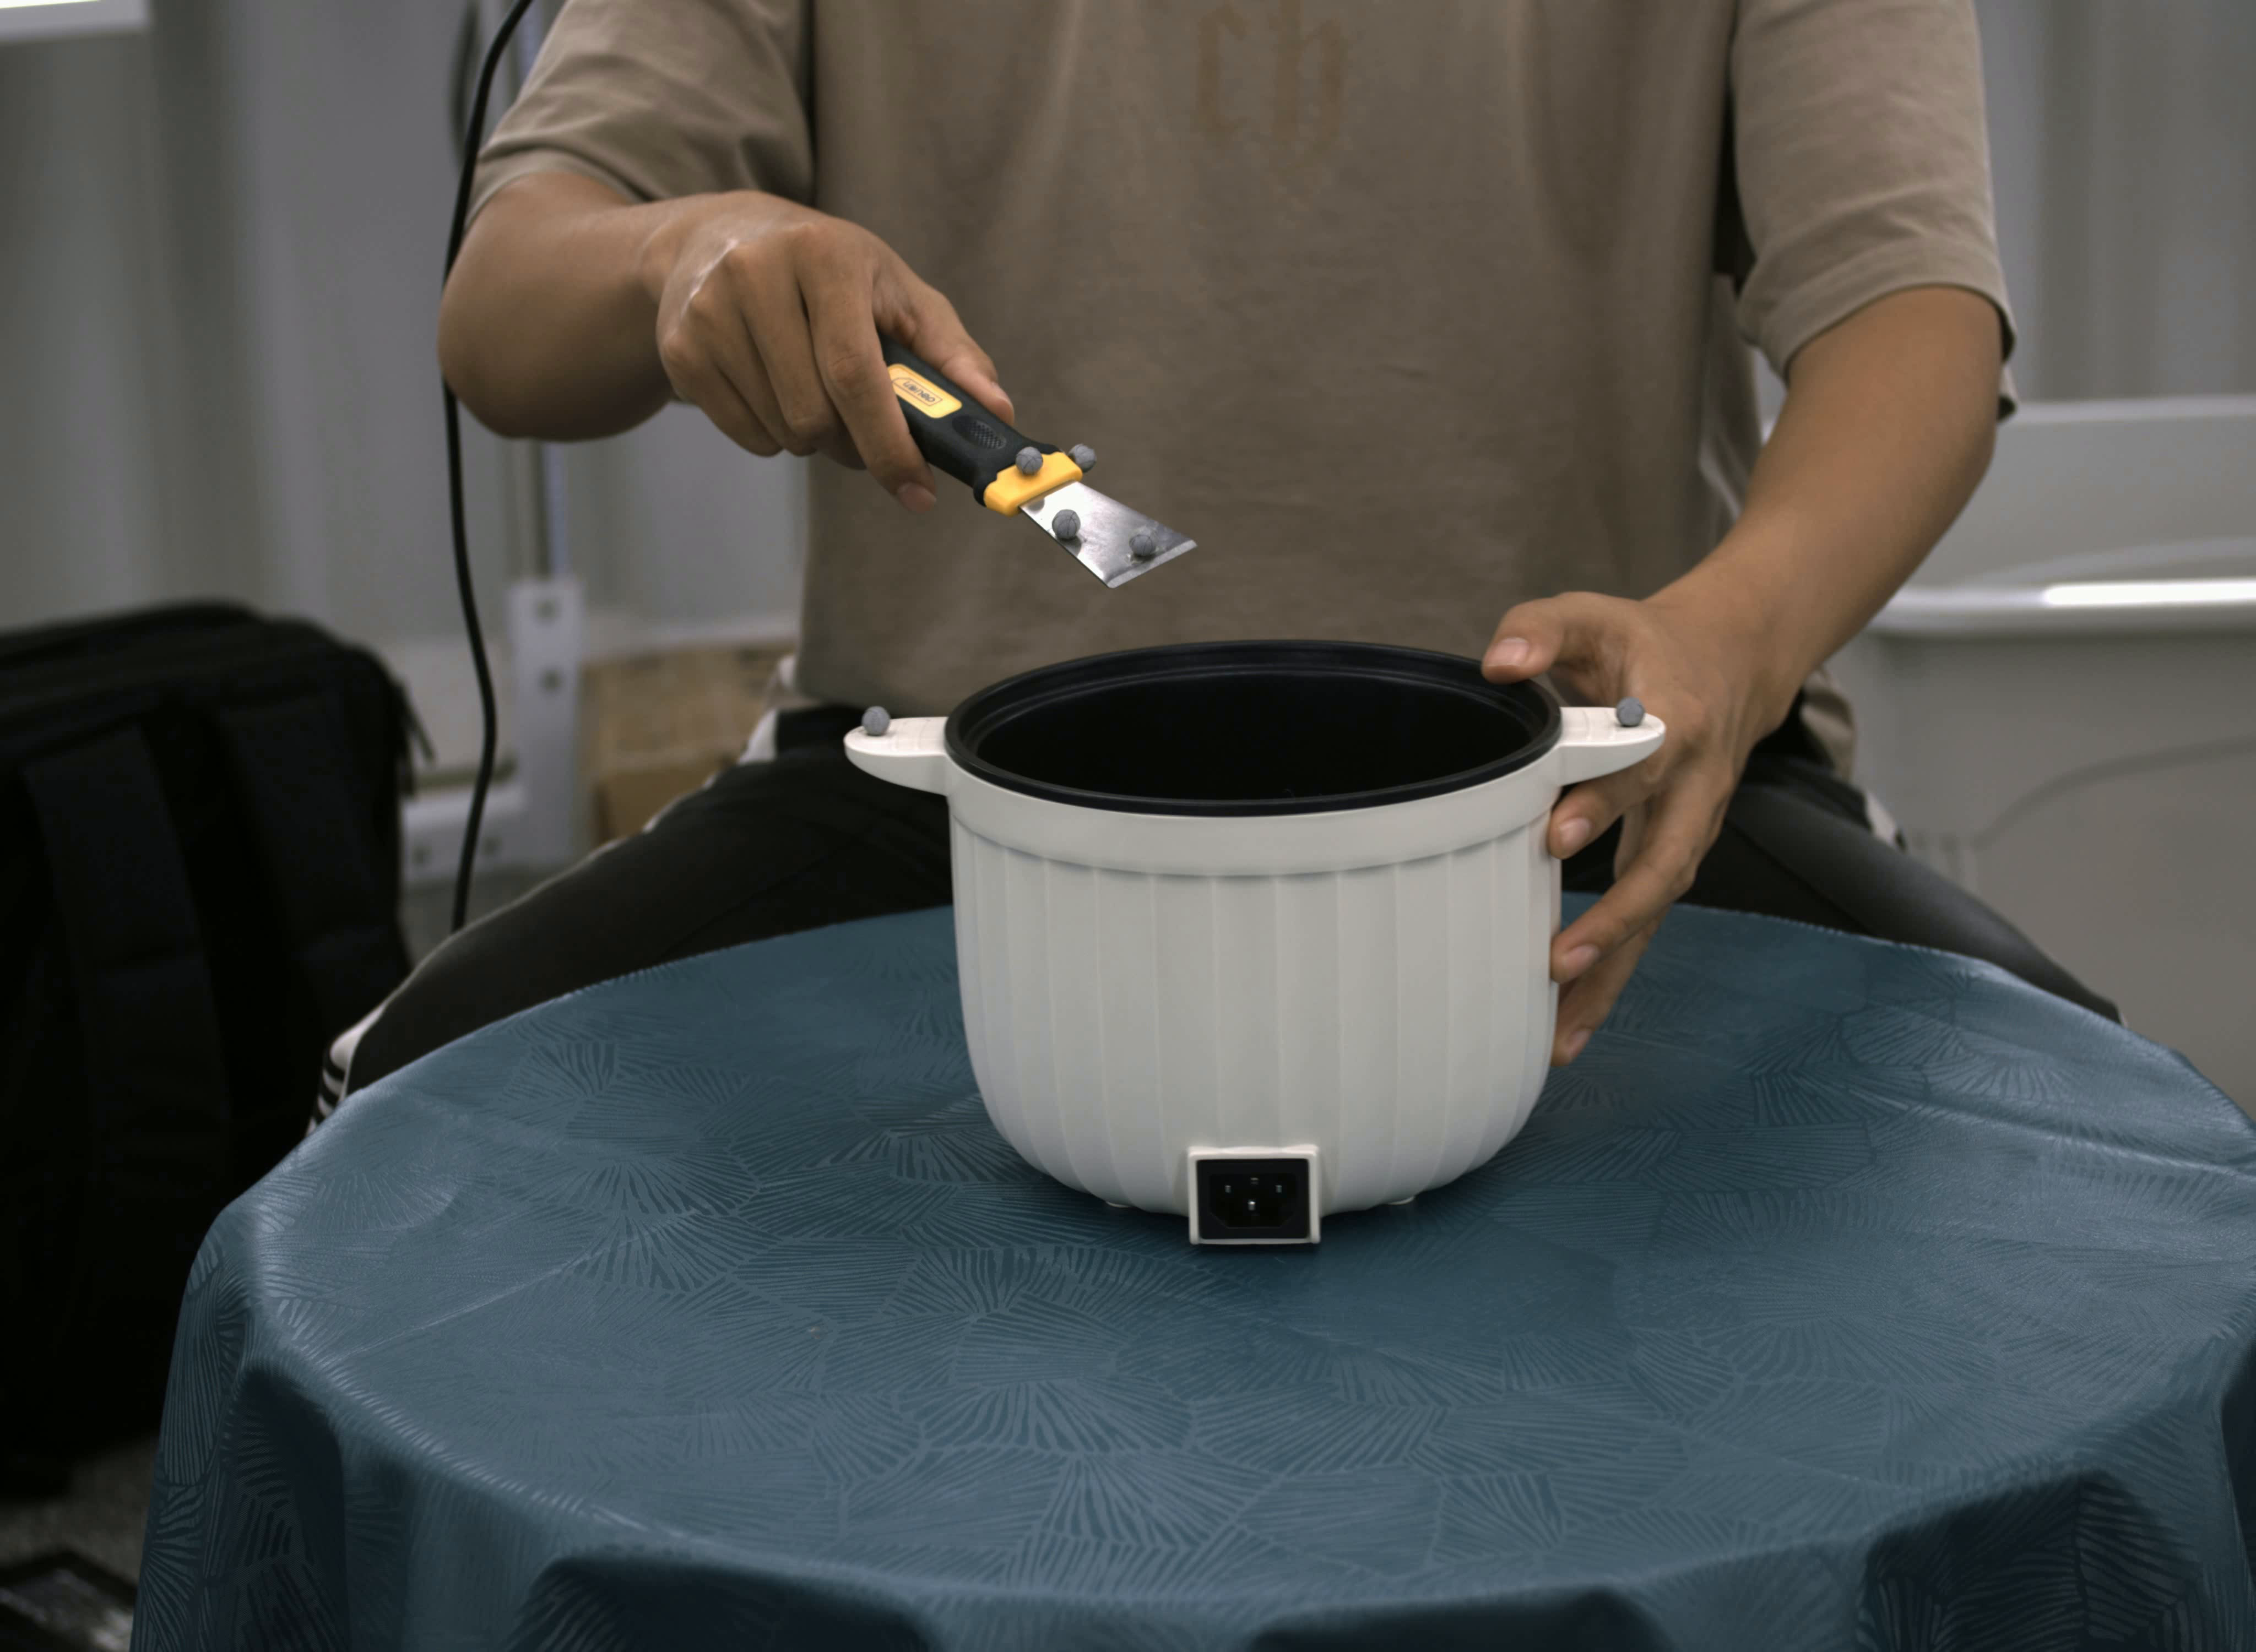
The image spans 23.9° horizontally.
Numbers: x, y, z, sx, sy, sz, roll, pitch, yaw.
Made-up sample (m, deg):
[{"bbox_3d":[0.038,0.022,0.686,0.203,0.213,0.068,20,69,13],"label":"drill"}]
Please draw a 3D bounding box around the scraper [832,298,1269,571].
[{"bbox_3d":[-0.029,-0.119,1.606,0.038,0.015,0.175,-34,47,-27],"label":"scraper"}]

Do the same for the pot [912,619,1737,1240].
[{"bbox_3d":[0.057,0.027,1.566,0.240,0.142,0.191,0,20,4],"label":"pot"}]
